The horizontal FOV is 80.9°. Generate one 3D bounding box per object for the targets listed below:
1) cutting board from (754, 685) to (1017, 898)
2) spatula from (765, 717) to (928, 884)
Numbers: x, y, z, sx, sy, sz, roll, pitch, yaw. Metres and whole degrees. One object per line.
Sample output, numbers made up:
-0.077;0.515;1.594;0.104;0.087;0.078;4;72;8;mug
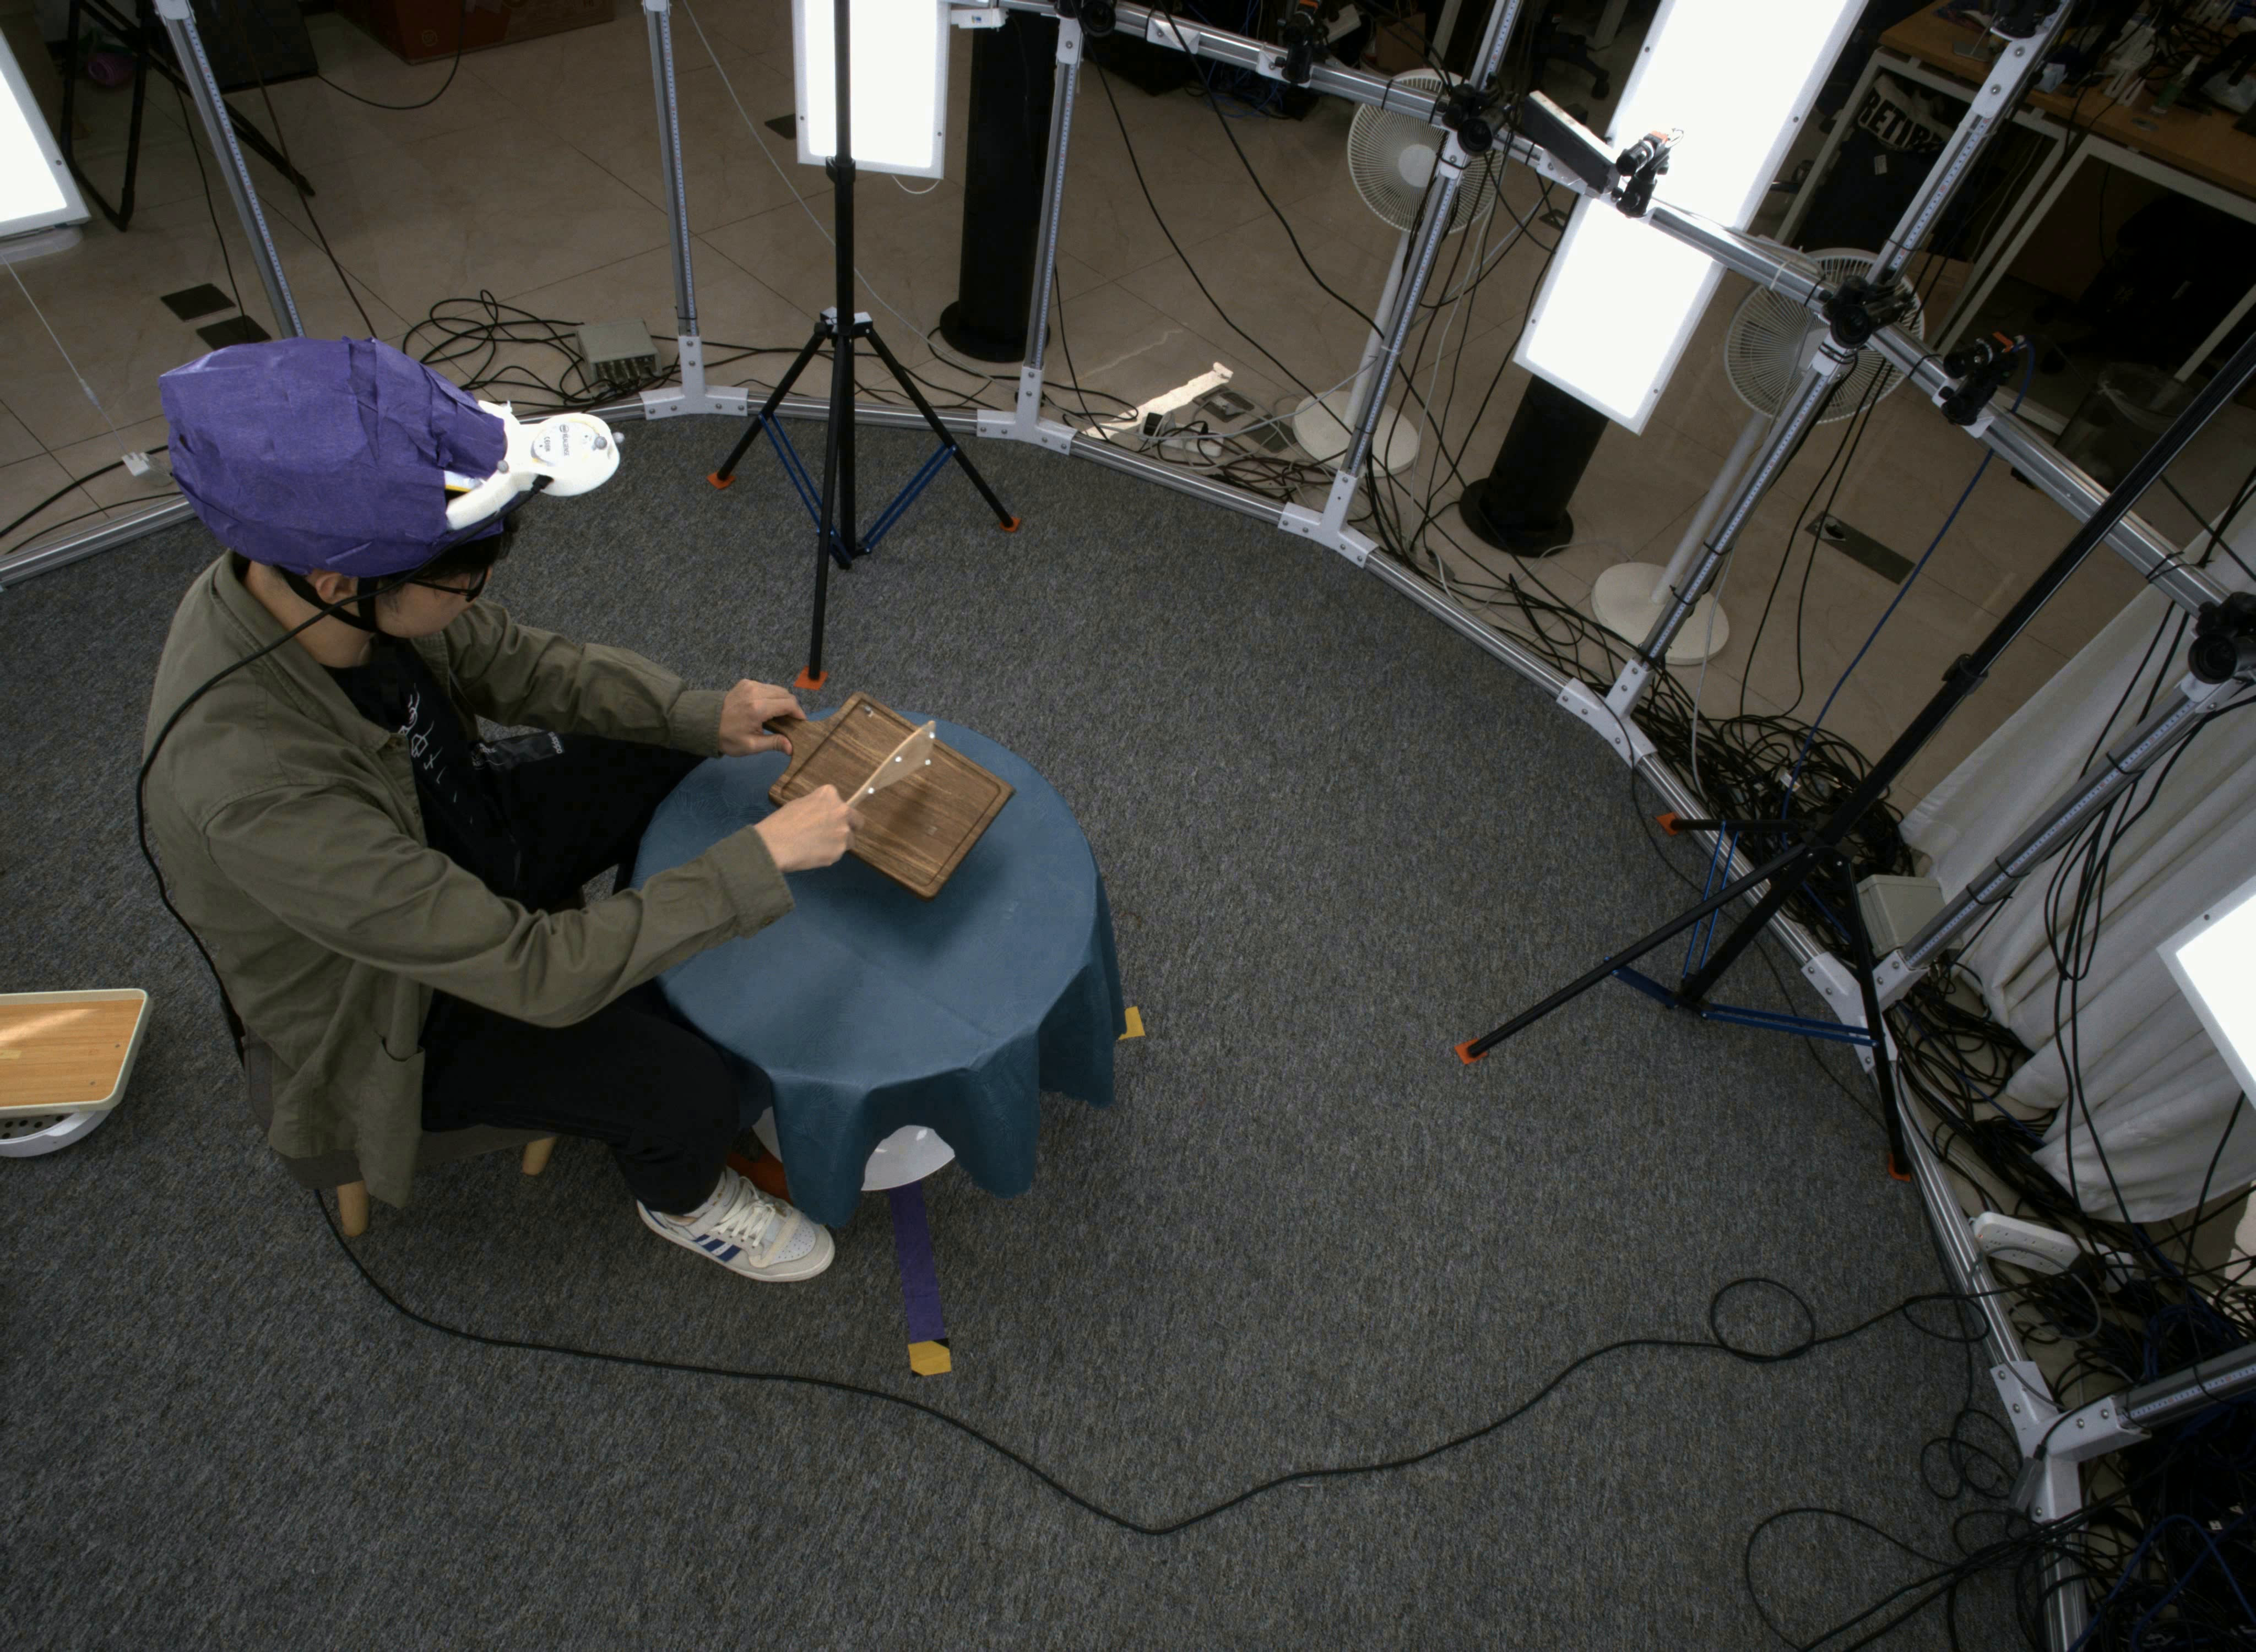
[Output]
-0.336;-0.076;1.678;0.349;0.023;0.200;34;62;2;cutting board
-0.322;-0.030;1.518;0.016;0.081;0.326;29;42;7;spatula
